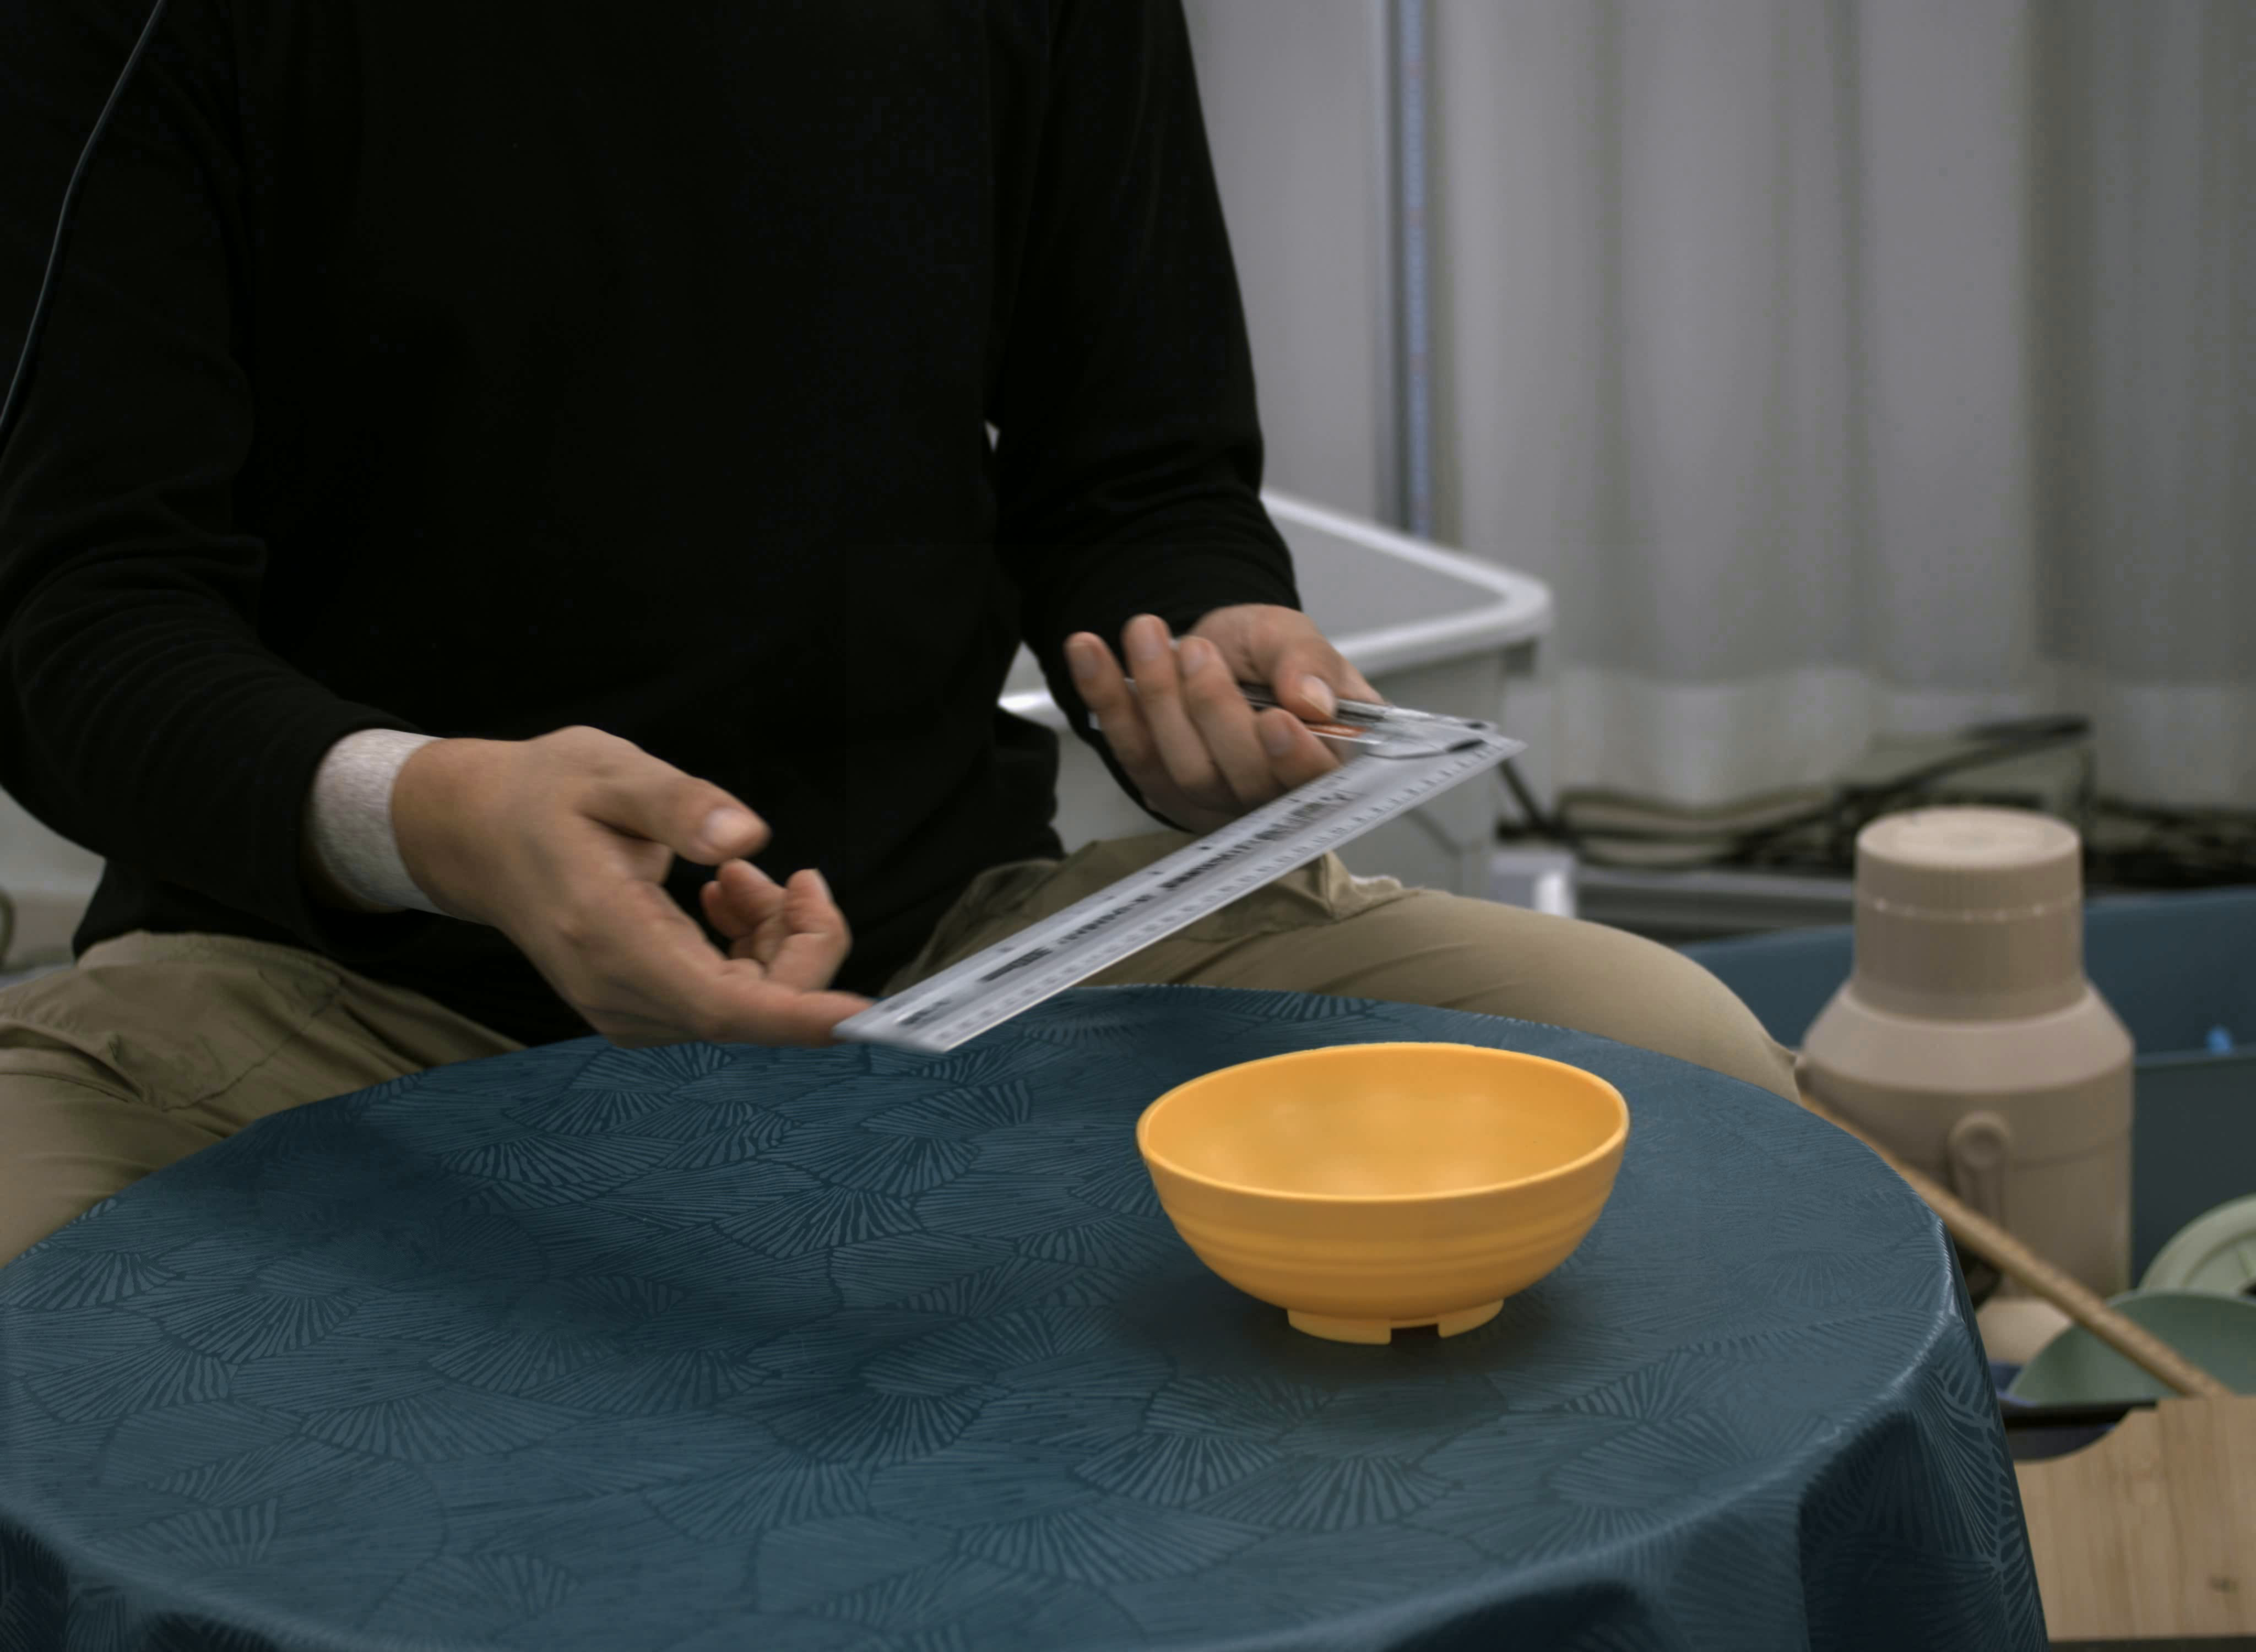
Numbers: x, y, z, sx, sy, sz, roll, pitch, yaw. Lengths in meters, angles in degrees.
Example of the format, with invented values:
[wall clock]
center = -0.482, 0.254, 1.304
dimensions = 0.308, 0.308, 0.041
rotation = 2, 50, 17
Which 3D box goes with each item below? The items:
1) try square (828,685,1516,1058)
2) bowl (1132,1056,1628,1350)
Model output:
[try square]
center = -0.023, 0.010, 1.695
dimensions = 0.153, 0.016, 0.313
rotation = 6, 21, 36
[bowl]
center = 0.073, 0.114, 1.593
dimensions = 0.145, 0.060, 0.146
rotation = -1, 13, 0
